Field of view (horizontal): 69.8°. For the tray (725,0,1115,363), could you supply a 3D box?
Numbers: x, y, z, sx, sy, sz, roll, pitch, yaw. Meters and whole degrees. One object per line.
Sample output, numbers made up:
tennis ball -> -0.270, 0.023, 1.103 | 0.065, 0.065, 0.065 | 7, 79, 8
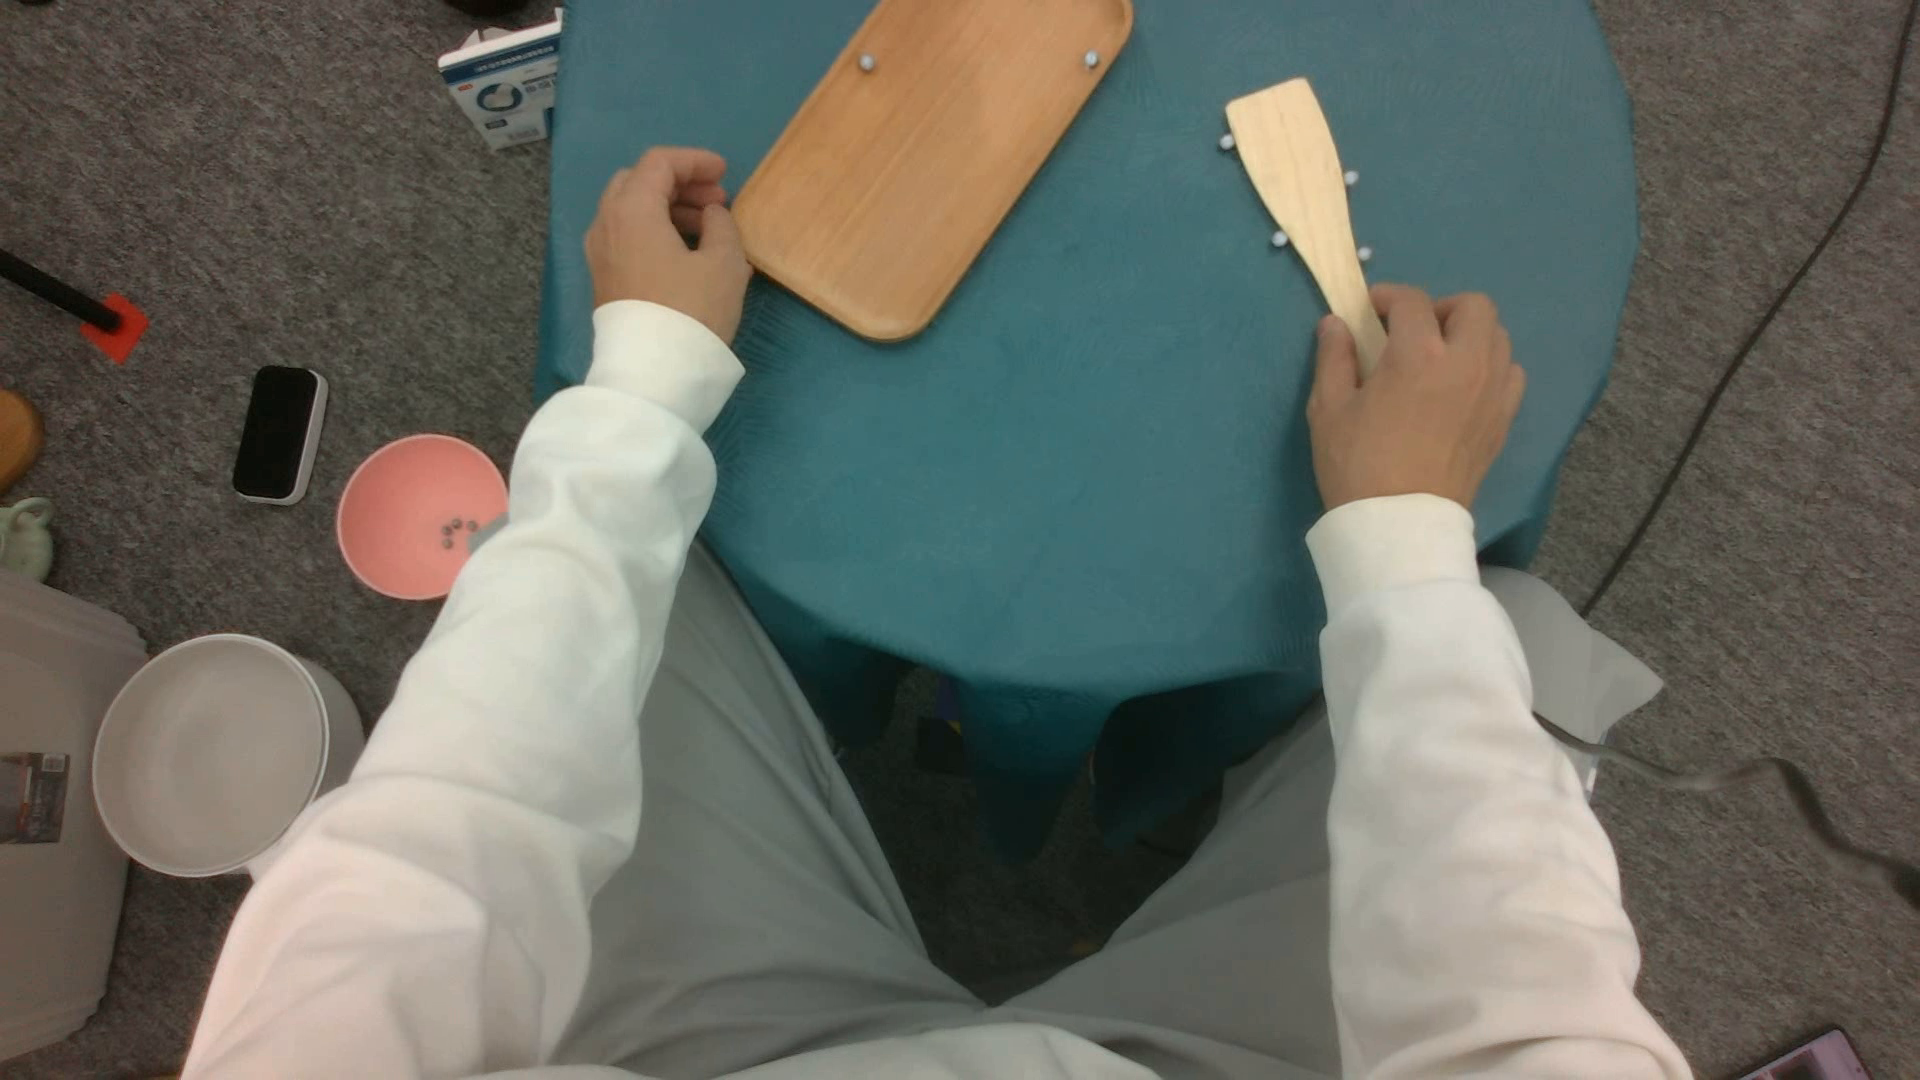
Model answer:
tray -> -0.020, -0.221, 0.777 | 0.130, 0.023, 0.251 | 31, 80, 11

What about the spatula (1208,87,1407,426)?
spatula -> 0.195, -0.156, 0.756 | 0.050, 0.005, 0.208 | -20, 75, 0
